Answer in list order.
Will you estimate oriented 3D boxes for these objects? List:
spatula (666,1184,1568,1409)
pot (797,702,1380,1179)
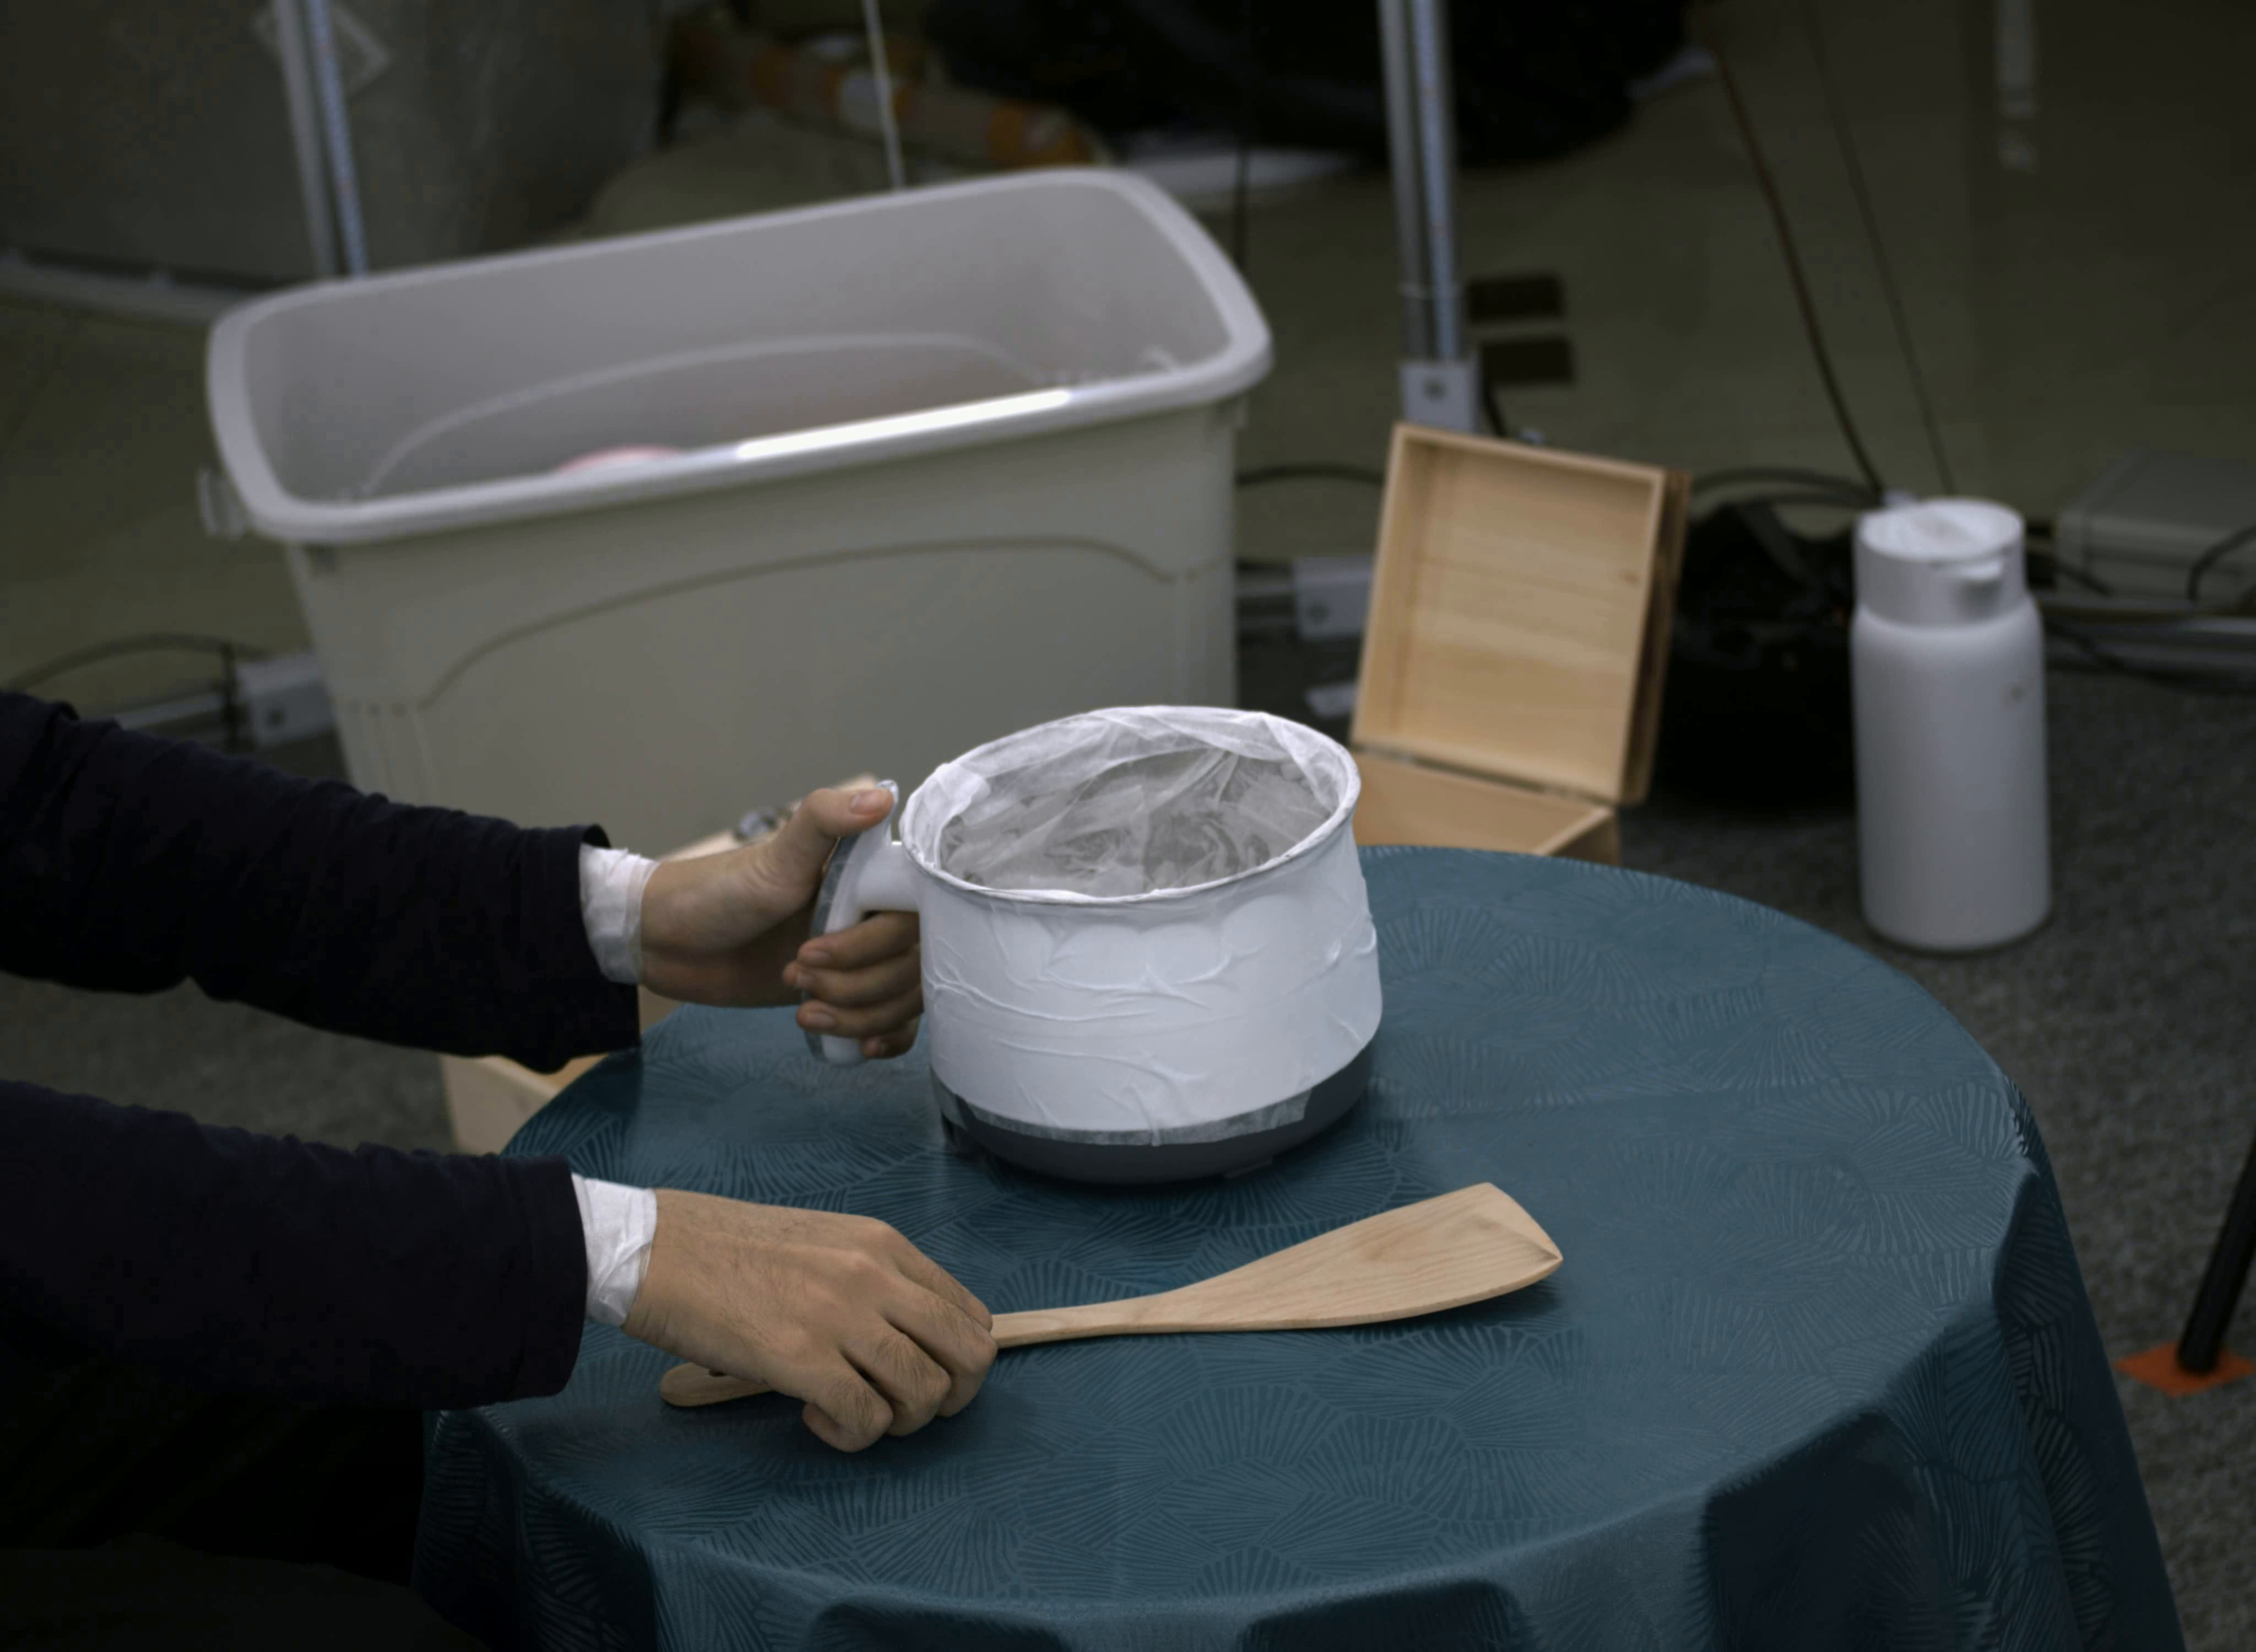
[{"bbox_3d":[-0.006,0.174,2.058,0.327,0.017,0.079,-9,24,-4],"label":"spatula"},{"bbox_3d":[-0.019,0.044,2.188,0.233,0.139,0.176,3,26,16],"label":"pot"}]
